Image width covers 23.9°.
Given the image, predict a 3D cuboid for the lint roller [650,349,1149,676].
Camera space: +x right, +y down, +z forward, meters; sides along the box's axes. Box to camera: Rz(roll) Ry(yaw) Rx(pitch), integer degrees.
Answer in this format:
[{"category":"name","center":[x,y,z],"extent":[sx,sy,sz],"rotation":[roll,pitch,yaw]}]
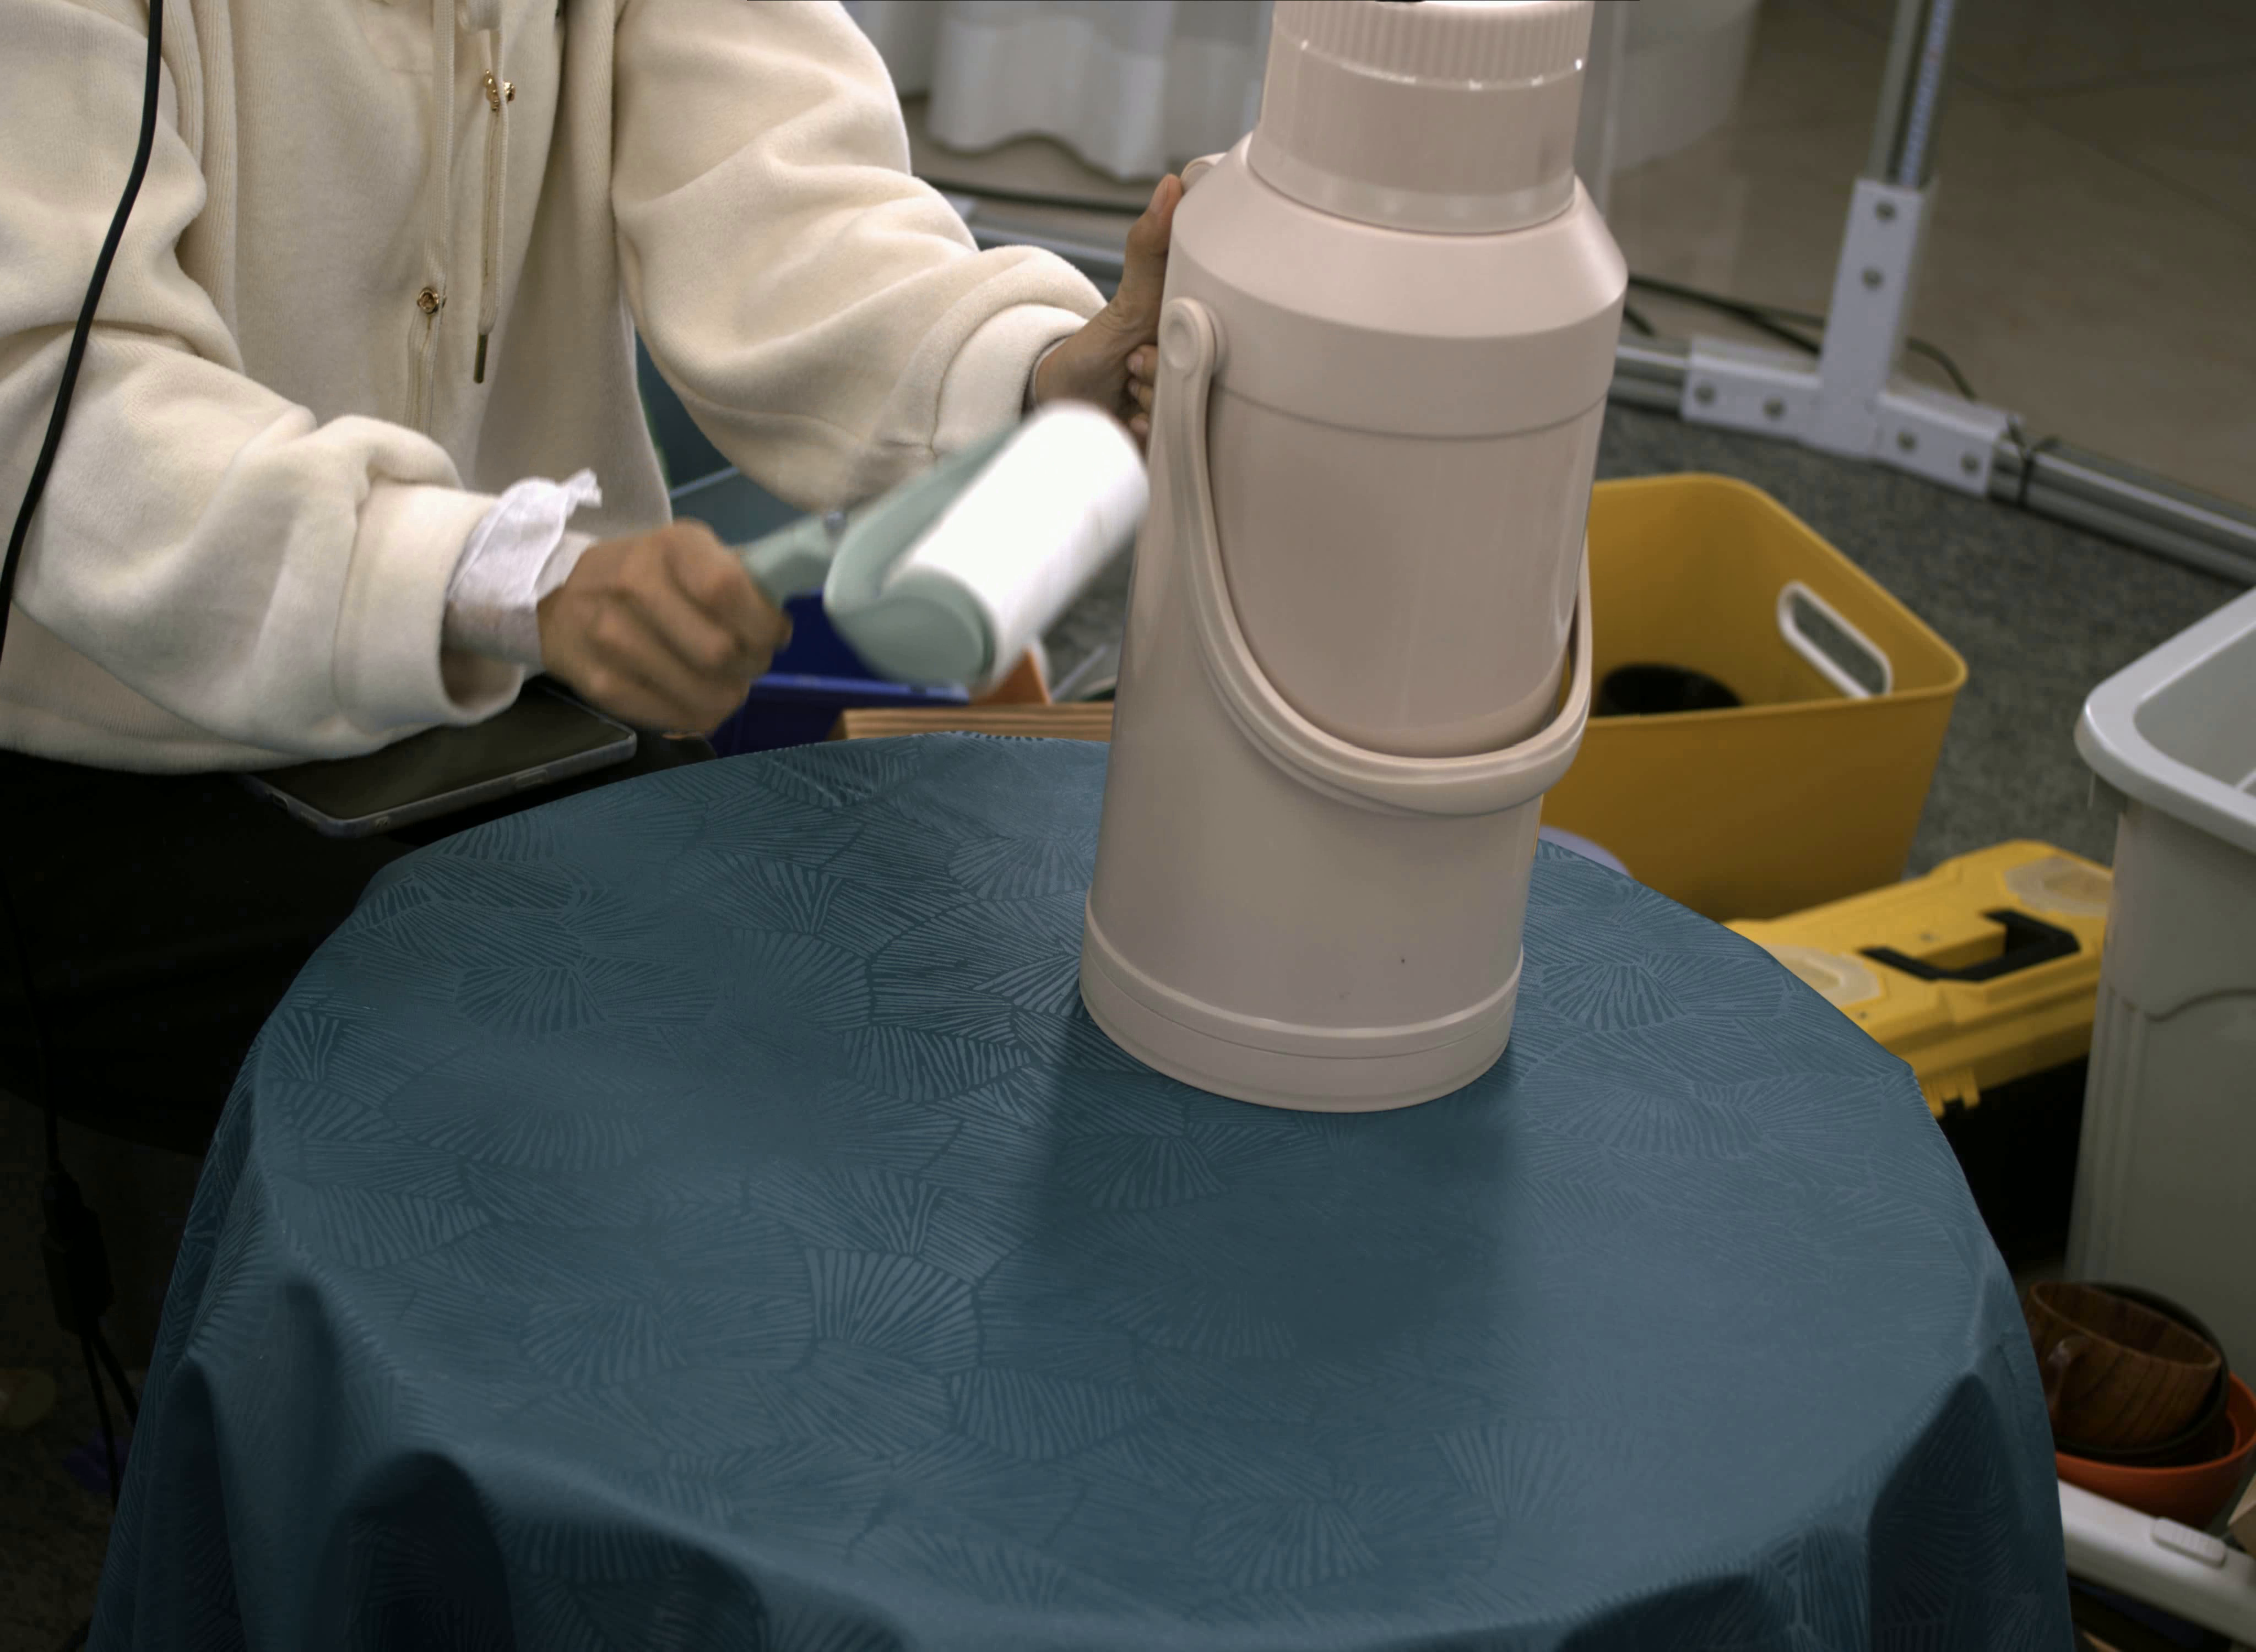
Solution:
[{"category":"lint roller","center":[-0.090,-0.094,1.745],"extent":[0.198,0.048,0.117],"rotation":[-13,28,39]}]

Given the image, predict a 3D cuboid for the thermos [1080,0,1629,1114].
[{"category":"thermos","center":[0.075,-0.117,1.855],"extent":[0.174,0.405,0.209],"rotation":[-11,31,-31]}]
